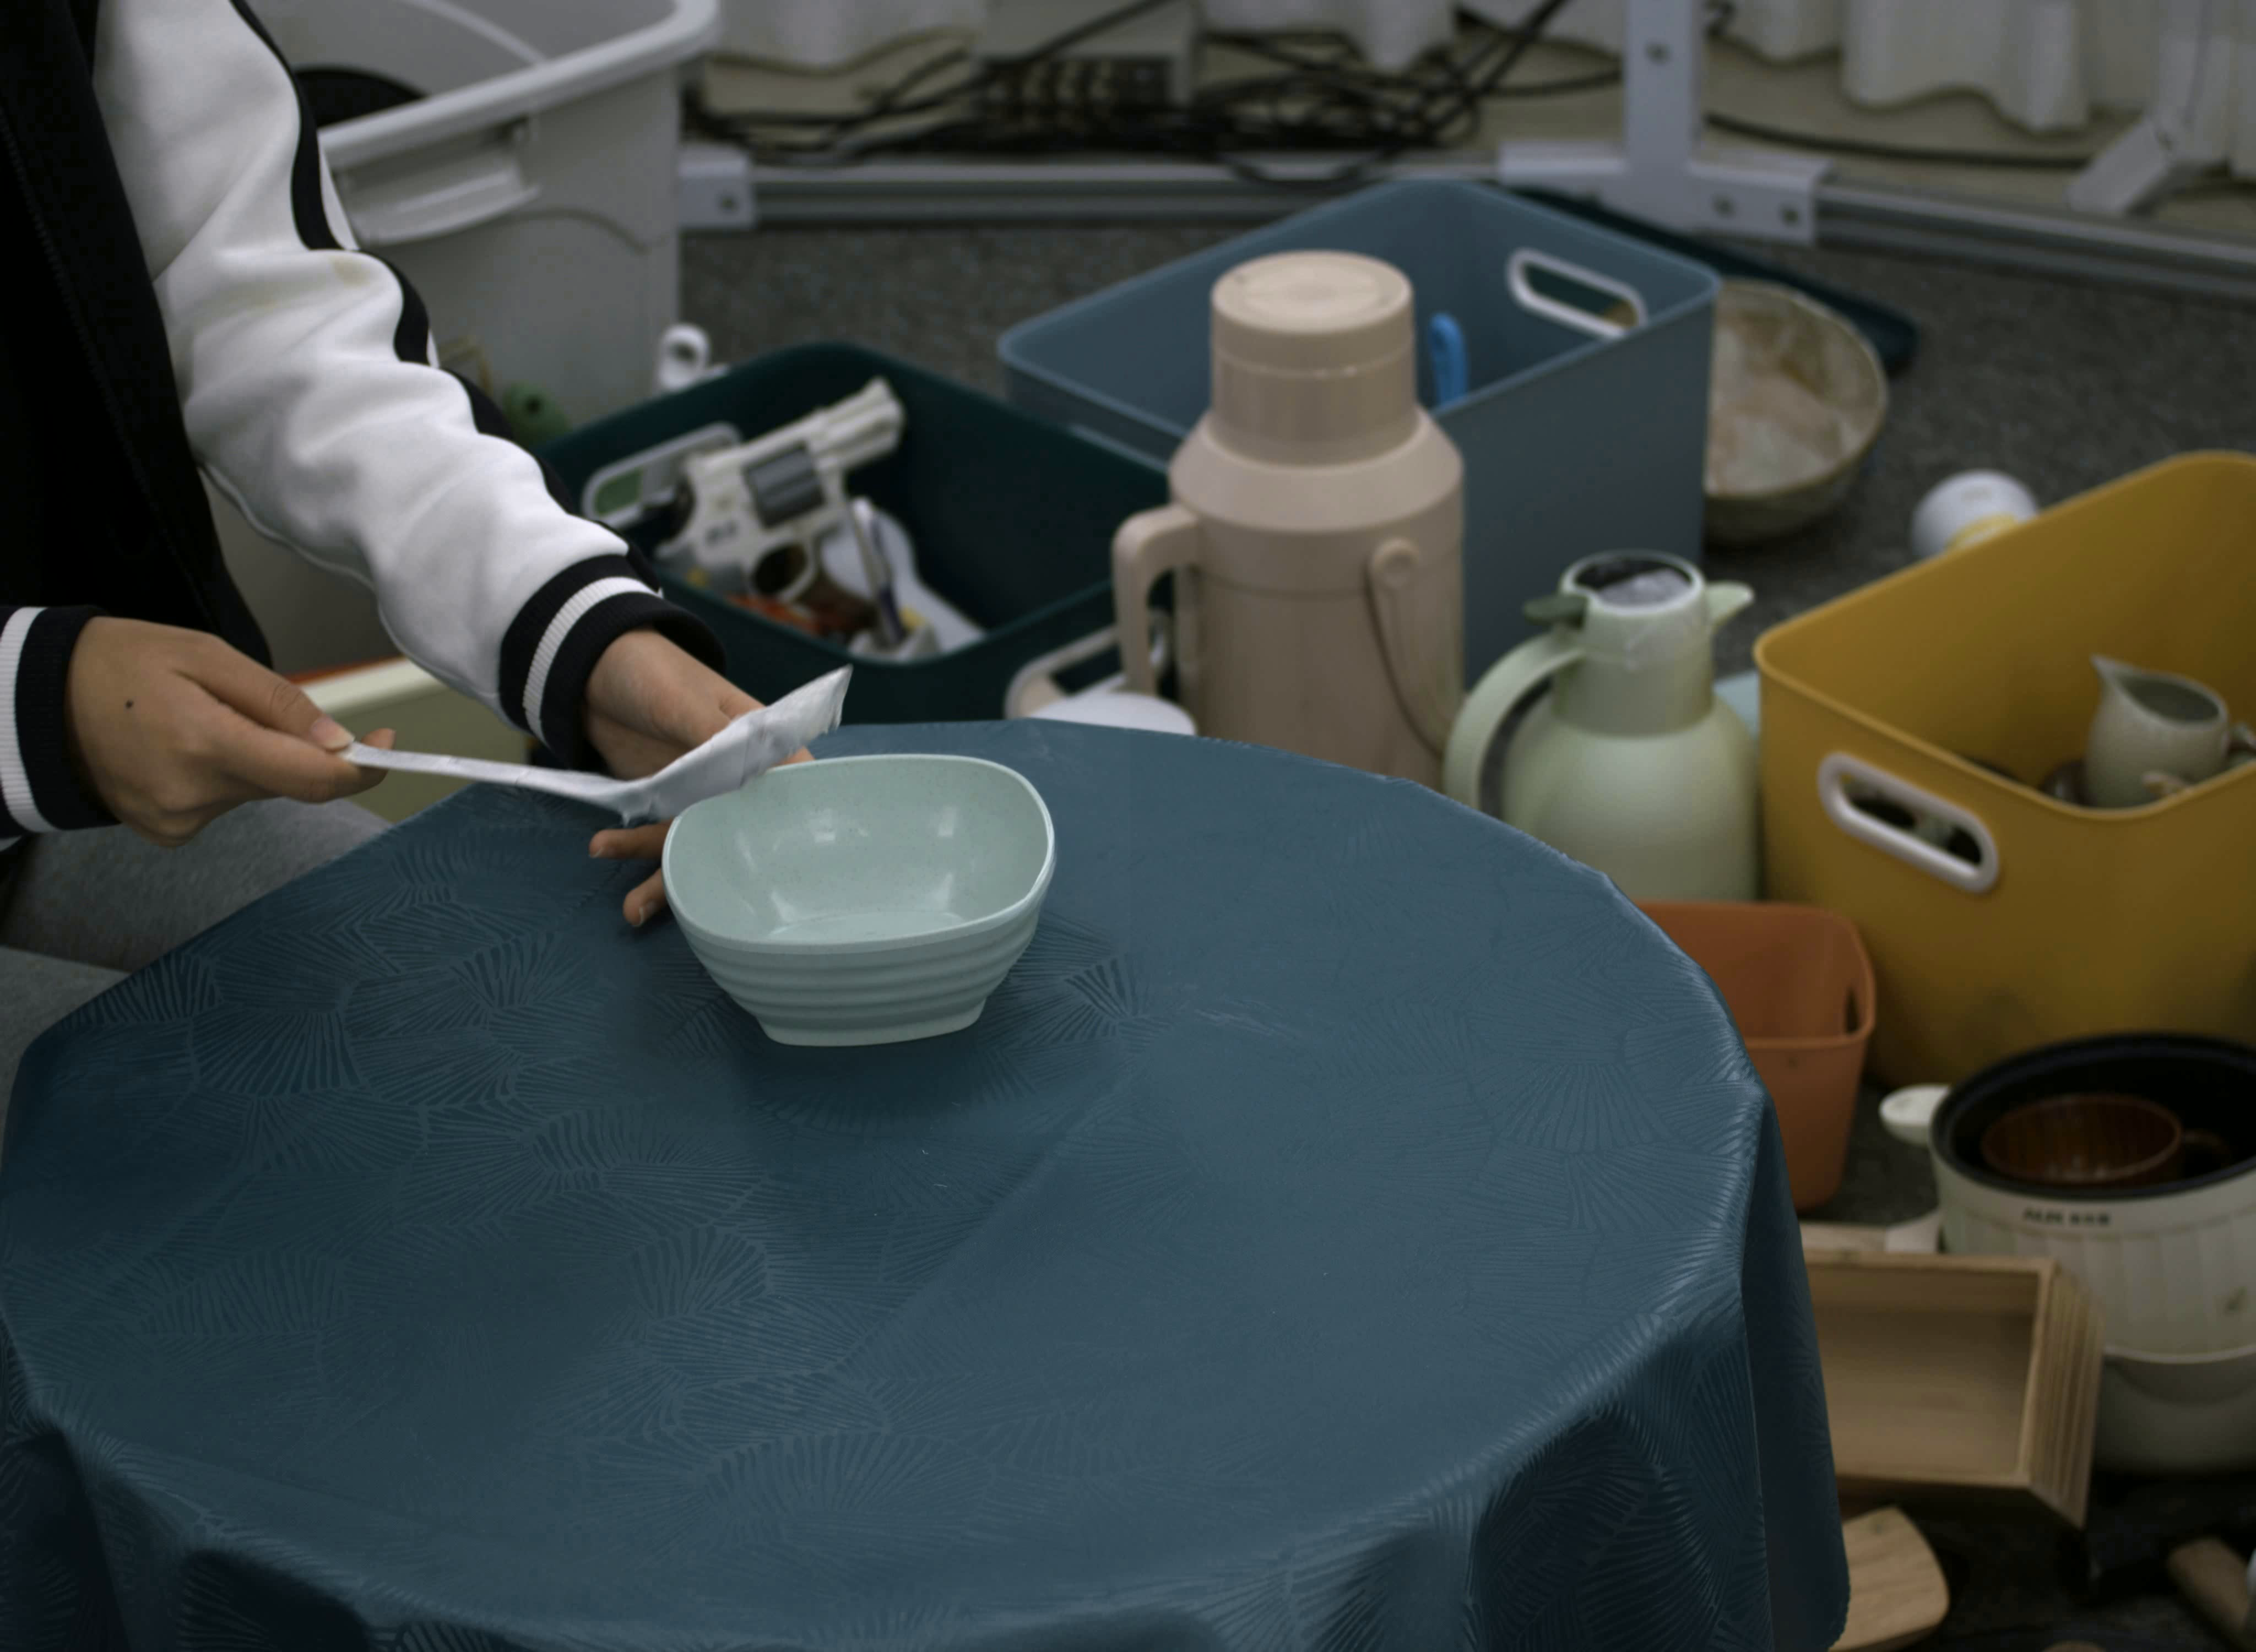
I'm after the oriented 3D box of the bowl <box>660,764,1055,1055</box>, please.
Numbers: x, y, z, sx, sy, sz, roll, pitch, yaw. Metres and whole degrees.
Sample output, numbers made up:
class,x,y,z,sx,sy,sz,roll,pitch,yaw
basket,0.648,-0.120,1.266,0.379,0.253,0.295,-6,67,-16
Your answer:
class,x,y,z,sx,sy,sz,roll,pitch,yaw
bowl,-0.093,0.035,1.982,0.151,0.058,0.154,-2,27,2

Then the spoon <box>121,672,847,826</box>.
class,x,y,z,sx,sy,sz,roll,pitch,yaw
spoon,-0.221,-0.044,1.895,0.276,0.059,0.102,11,18,24
